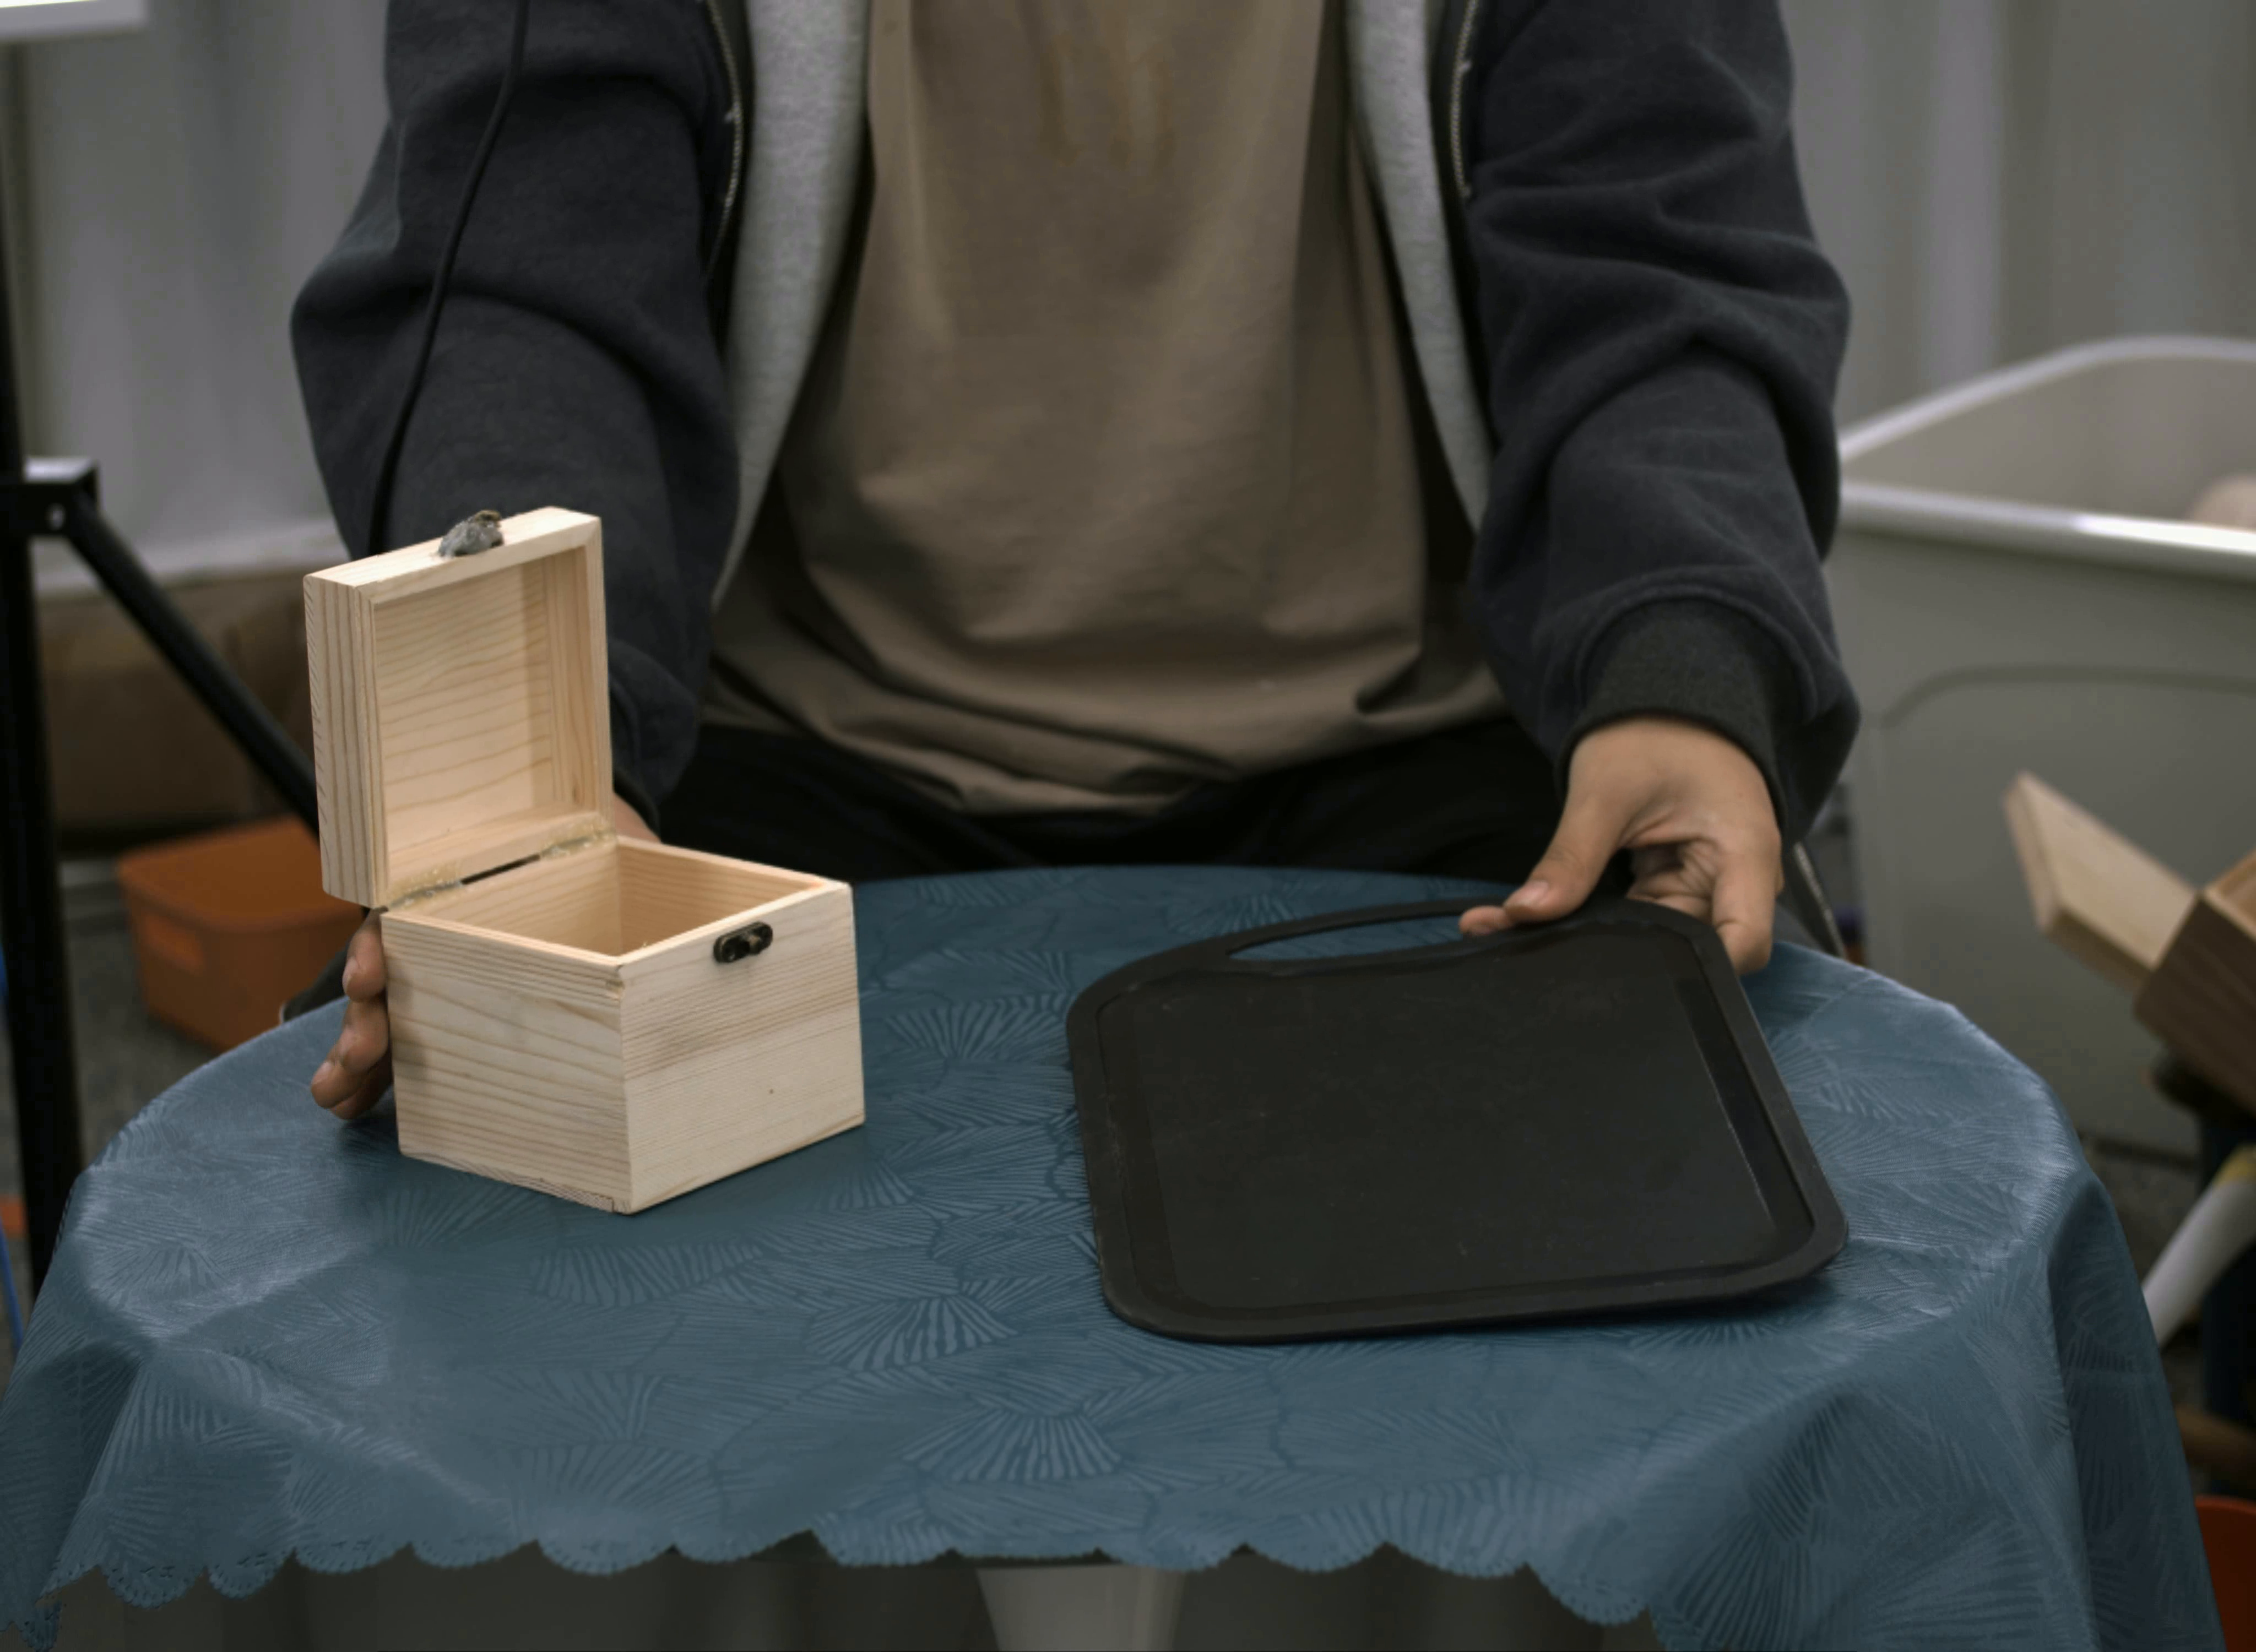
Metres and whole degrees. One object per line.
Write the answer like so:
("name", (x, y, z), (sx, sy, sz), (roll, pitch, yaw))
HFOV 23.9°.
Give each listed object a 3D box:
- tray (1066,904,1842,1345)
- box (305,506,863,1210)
("tray", (0.089, 0.081, 1.587), (0.210, 0.010, 0.327), (-5, 19, 0))
("box", (-0.162, 0.006, 1.611), (0.137, 0.184, 0.100), (9, 19, 40))
